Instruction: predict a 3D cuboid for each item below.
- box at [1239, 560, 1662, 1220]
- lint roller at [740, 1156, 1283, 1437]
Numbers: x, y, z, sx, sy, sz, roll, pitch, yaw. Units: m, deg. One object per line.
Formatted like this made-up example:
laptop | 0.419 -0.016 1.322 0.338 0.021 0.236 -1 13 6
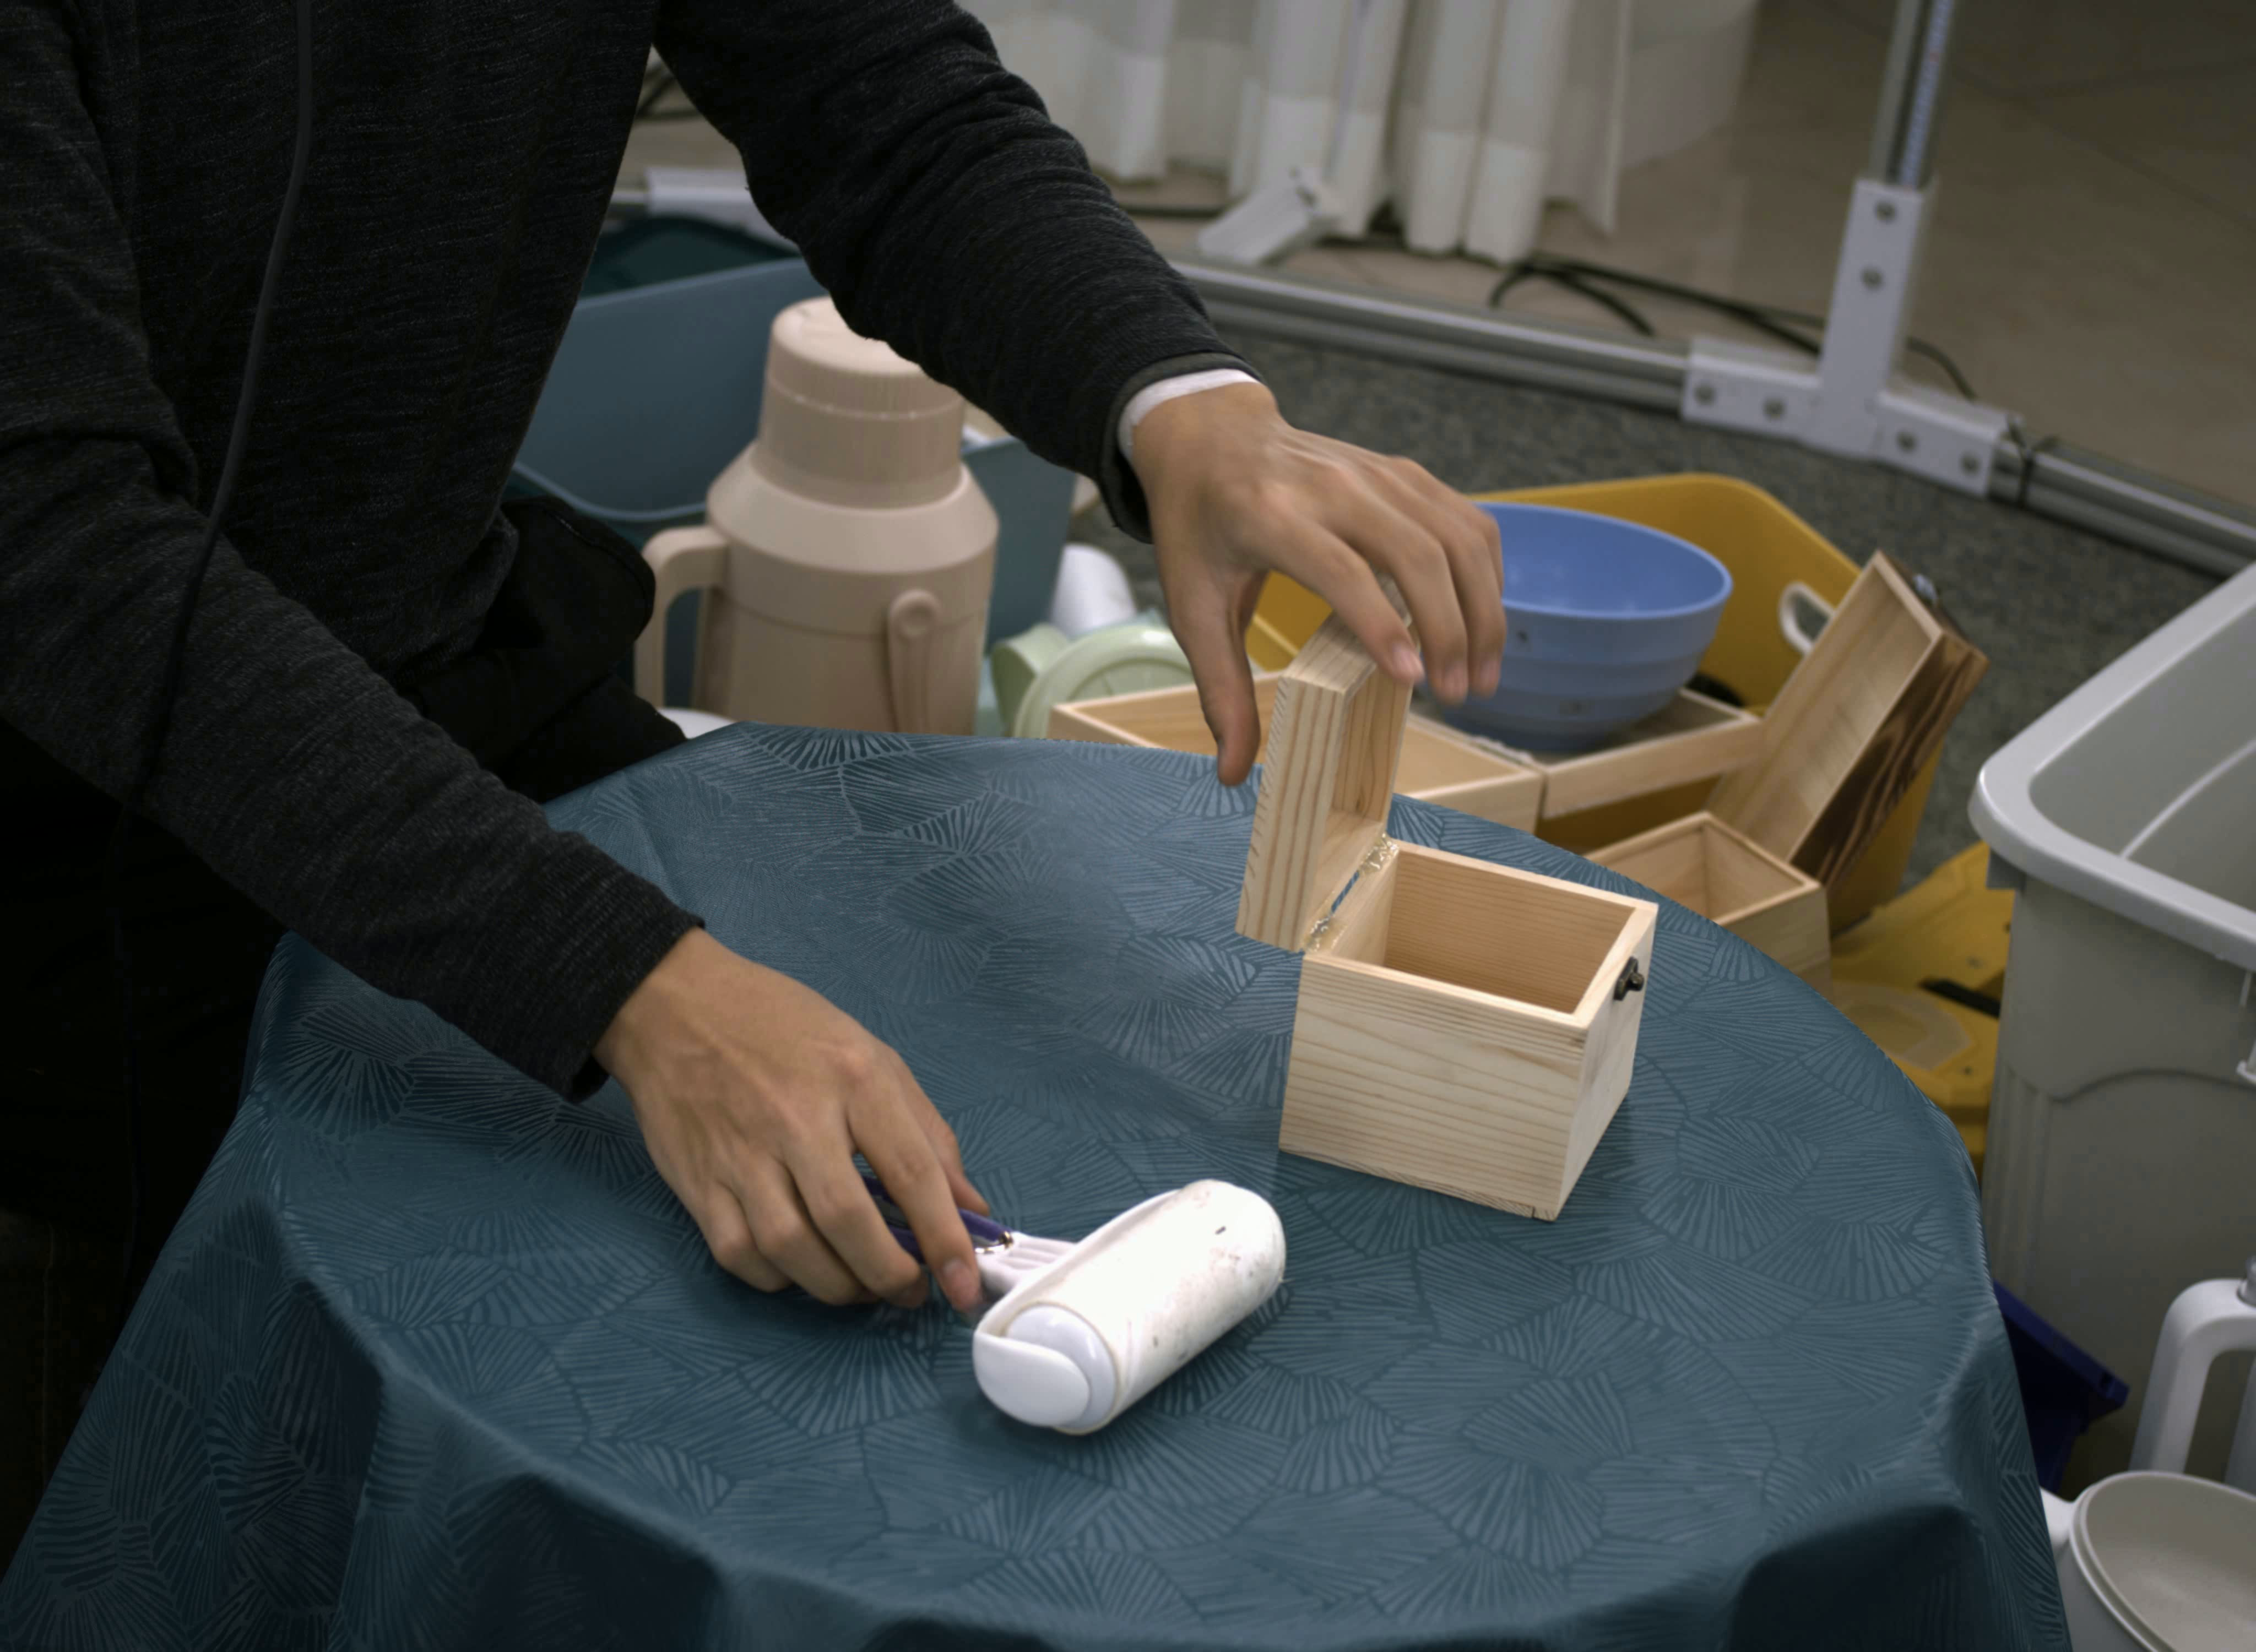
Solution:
box | 0.116 0.021 1.828 0.134 0.184 0.103 14 27 15
lint roller | -0.049 0.130 1.726 0.182 0.050 0.132 24 33 27
